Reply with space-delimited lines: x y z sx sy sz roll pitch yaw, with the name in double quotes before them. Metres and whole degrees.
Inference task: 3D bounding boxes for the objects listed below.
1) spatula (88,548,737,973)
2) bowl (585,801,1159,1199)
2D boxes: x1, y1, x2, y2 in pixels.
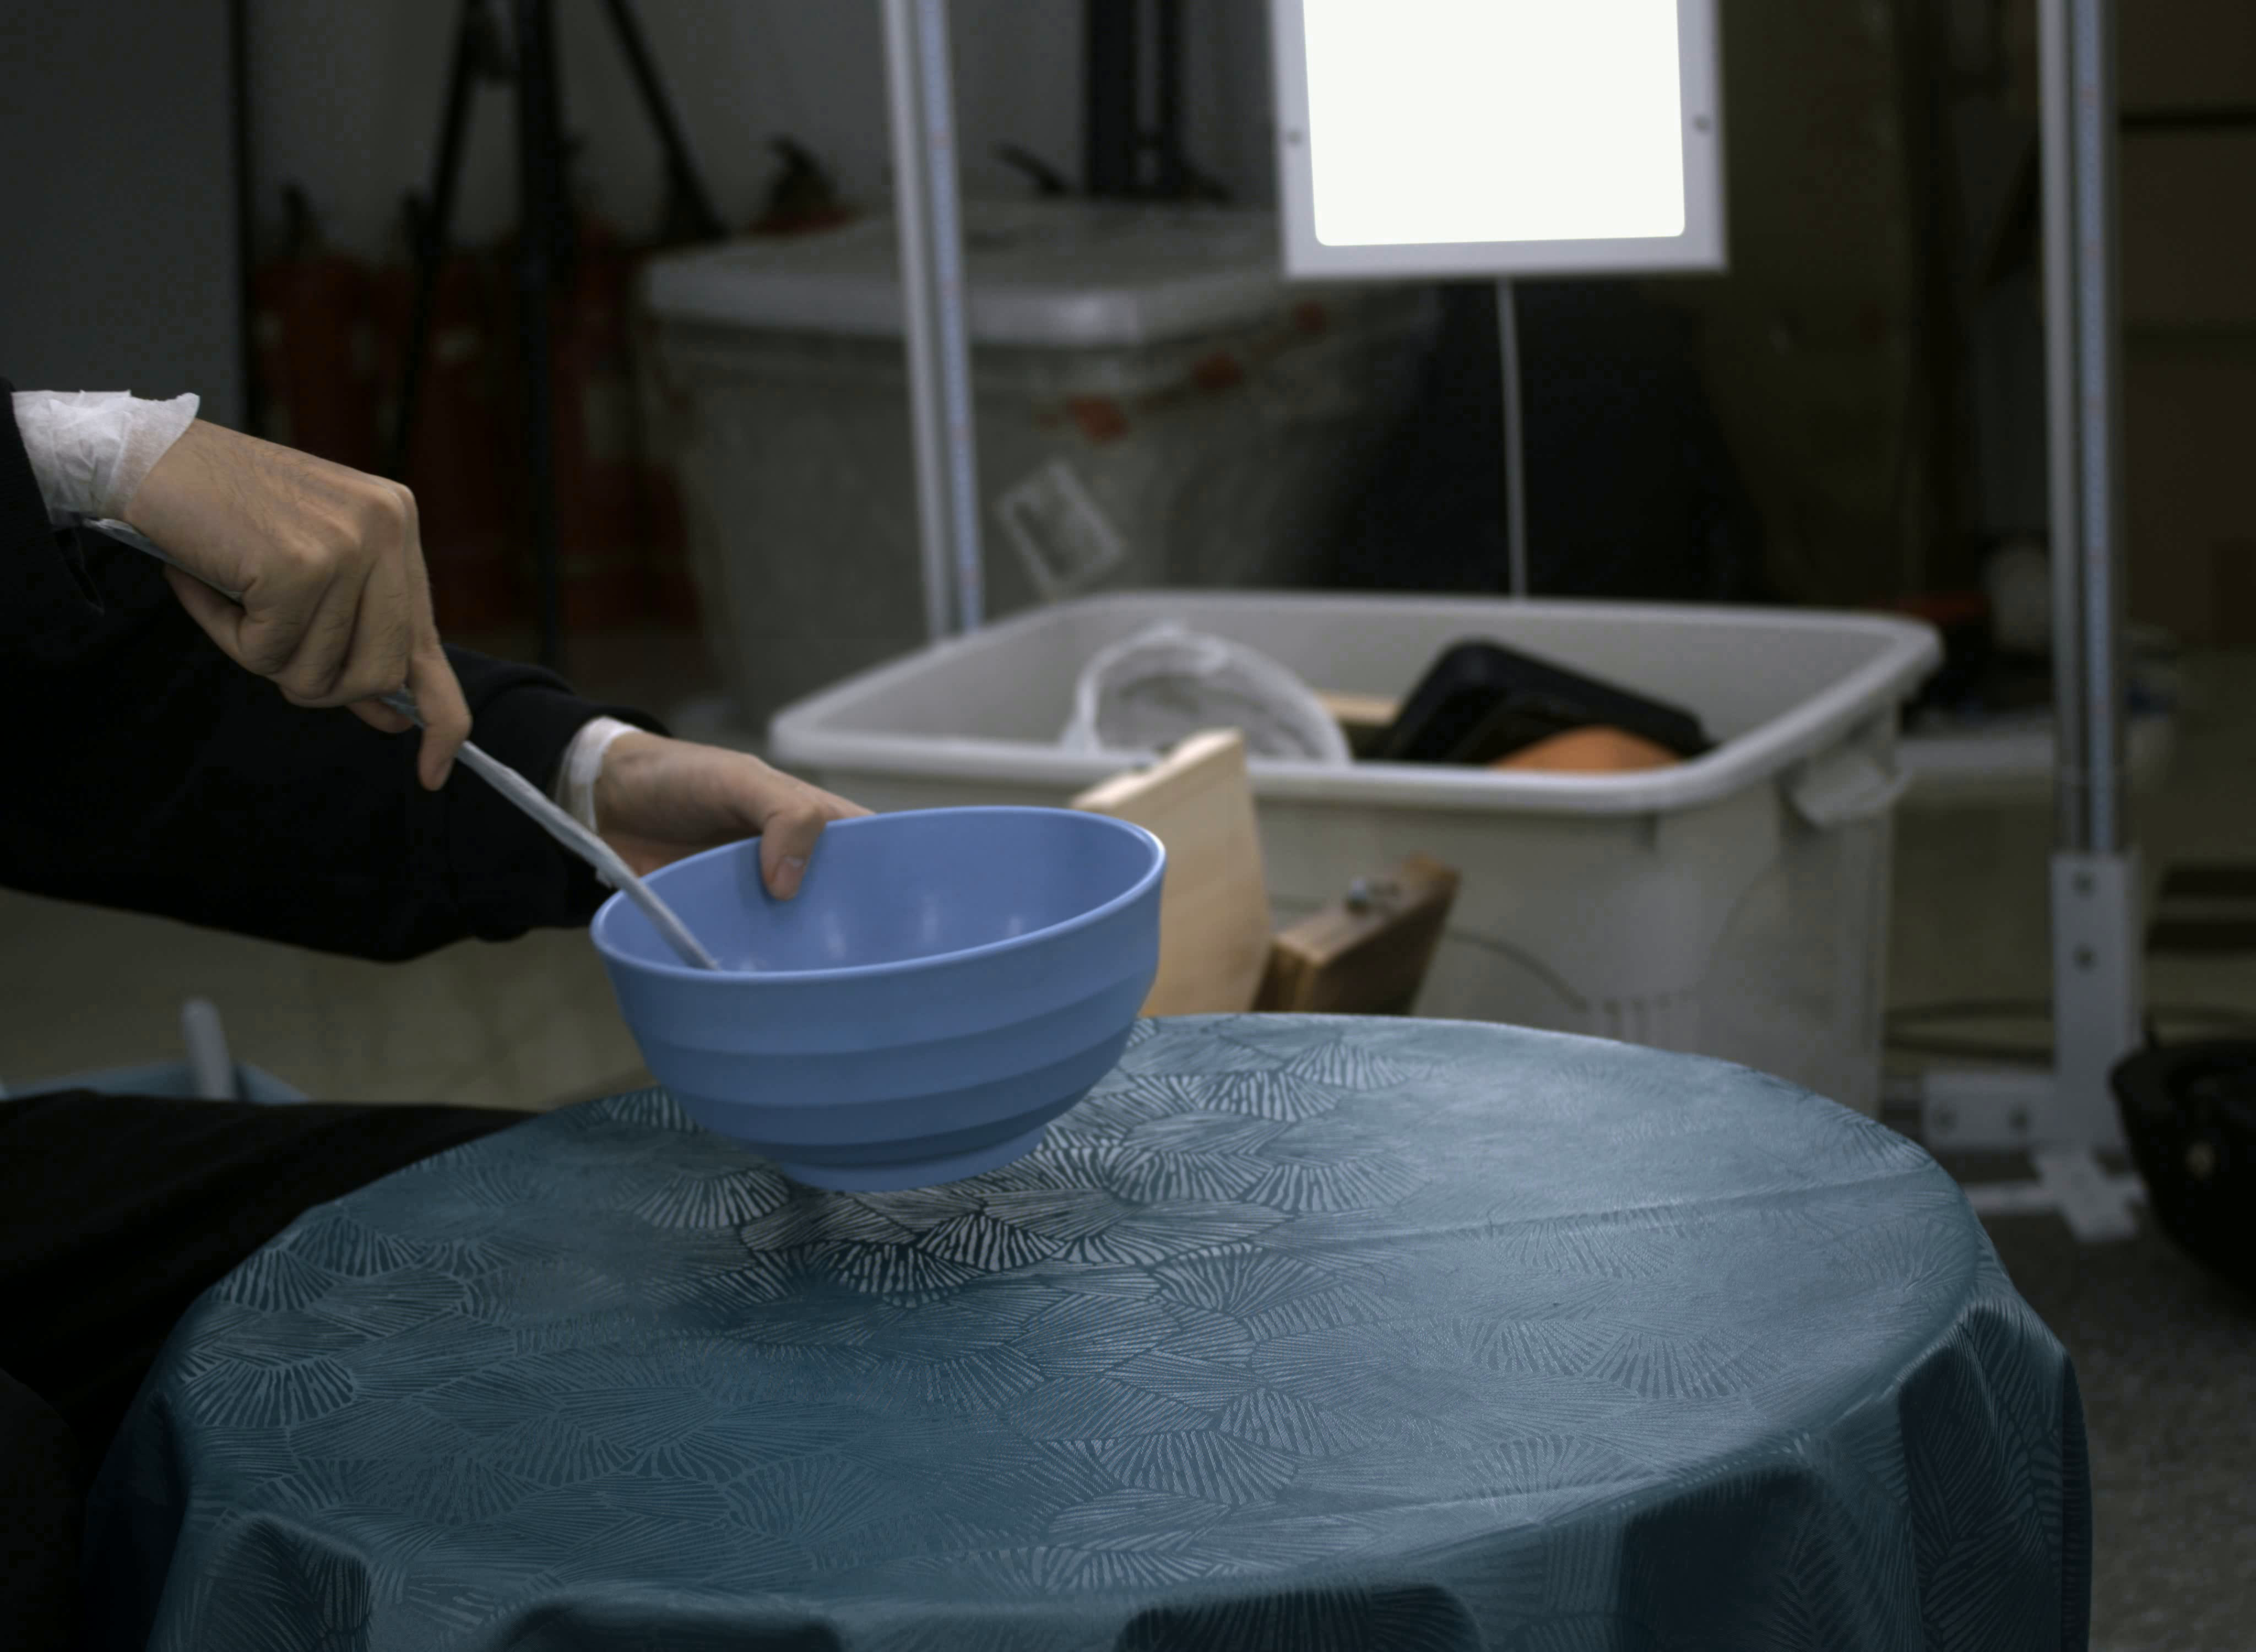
"spatula" -0.186 -0.006 1.826 0.360 0.044 0.100 38 -18 -25
"bowl" -0.080 0.066 1.867 0.196 0.096 0.196 -9 16 1
